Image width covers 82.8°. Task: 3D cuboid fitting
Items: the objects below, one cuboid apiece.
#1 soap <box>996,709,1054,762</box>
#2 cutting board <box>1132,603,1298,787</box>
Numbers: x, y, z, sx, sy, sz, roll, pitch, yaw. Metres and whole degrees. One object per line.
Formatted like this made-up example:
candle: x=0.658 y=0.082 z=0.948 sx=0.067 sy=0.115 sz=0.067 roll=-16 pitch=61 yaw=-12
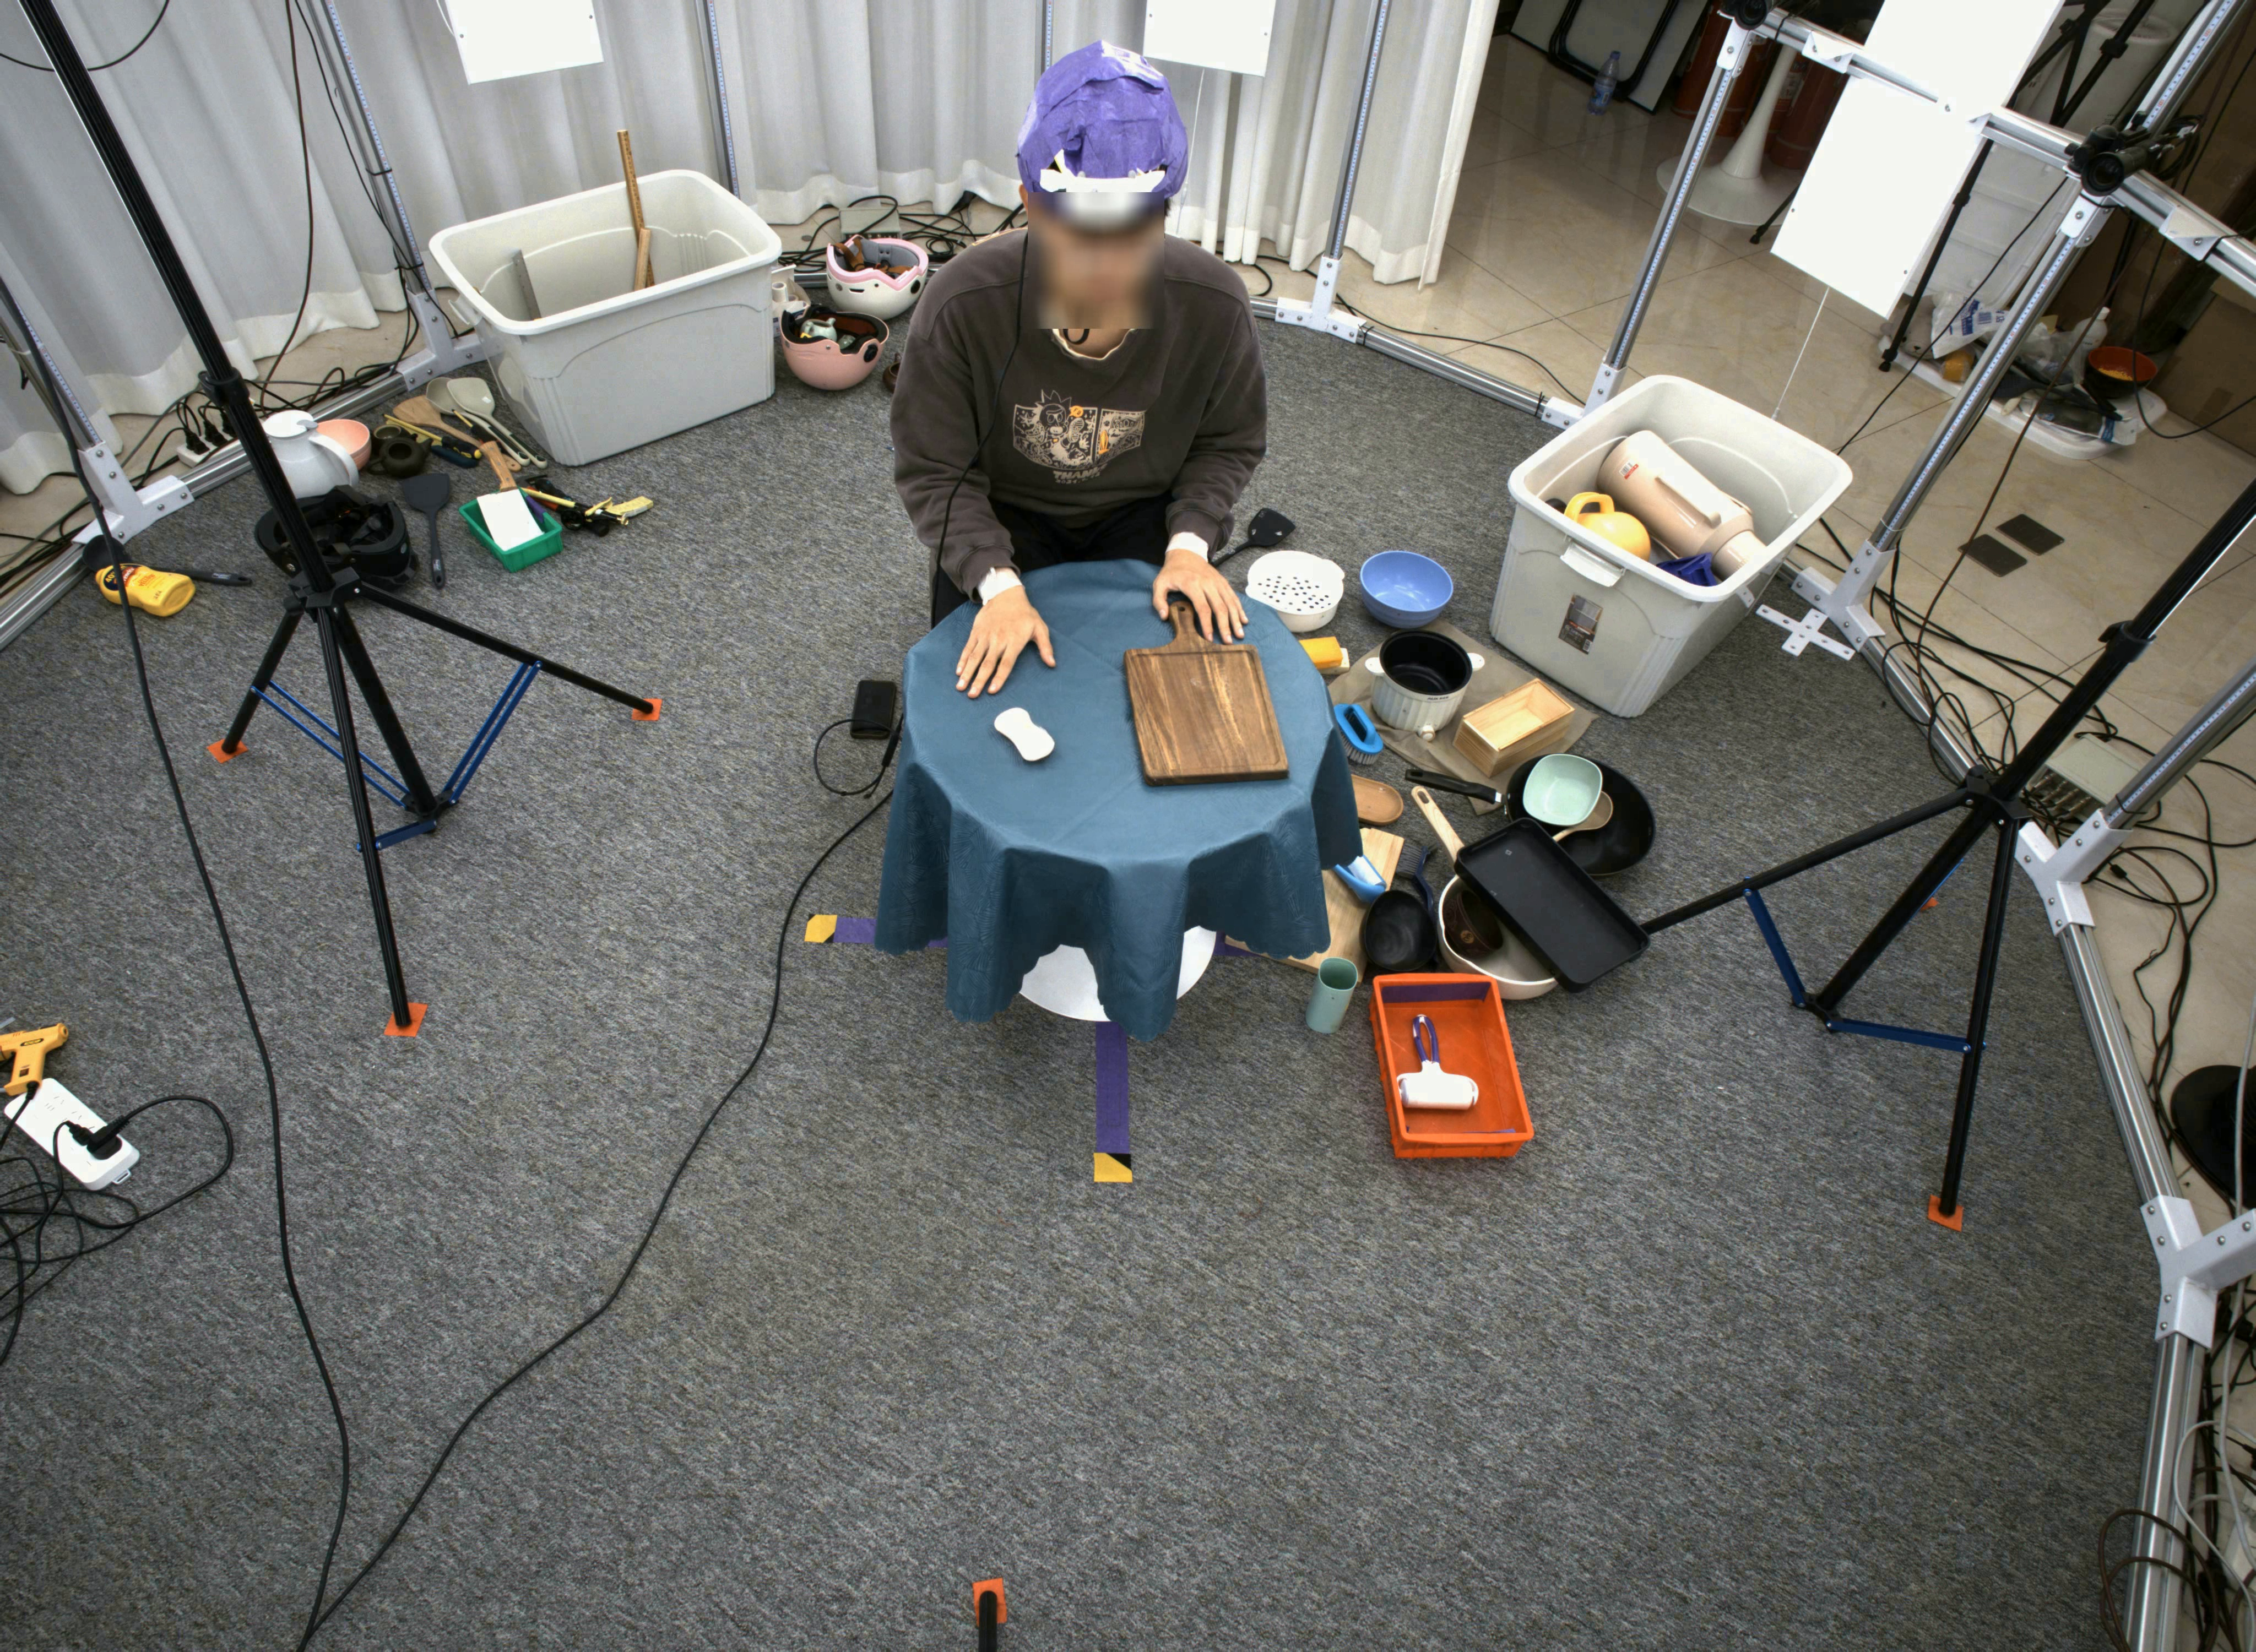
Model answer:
soap: x=-0.141 y=-0.124 z=1.747 sx=0.050 sy=0.029 sz=0.096 roll=-26 pitch=54 yaw=-24
cutting board: x=0.113 y=-0.196 z=1.830 sx=0.201 sy=0.022 sz=0.361 roll=-3 pitch=49 yaw=-6
